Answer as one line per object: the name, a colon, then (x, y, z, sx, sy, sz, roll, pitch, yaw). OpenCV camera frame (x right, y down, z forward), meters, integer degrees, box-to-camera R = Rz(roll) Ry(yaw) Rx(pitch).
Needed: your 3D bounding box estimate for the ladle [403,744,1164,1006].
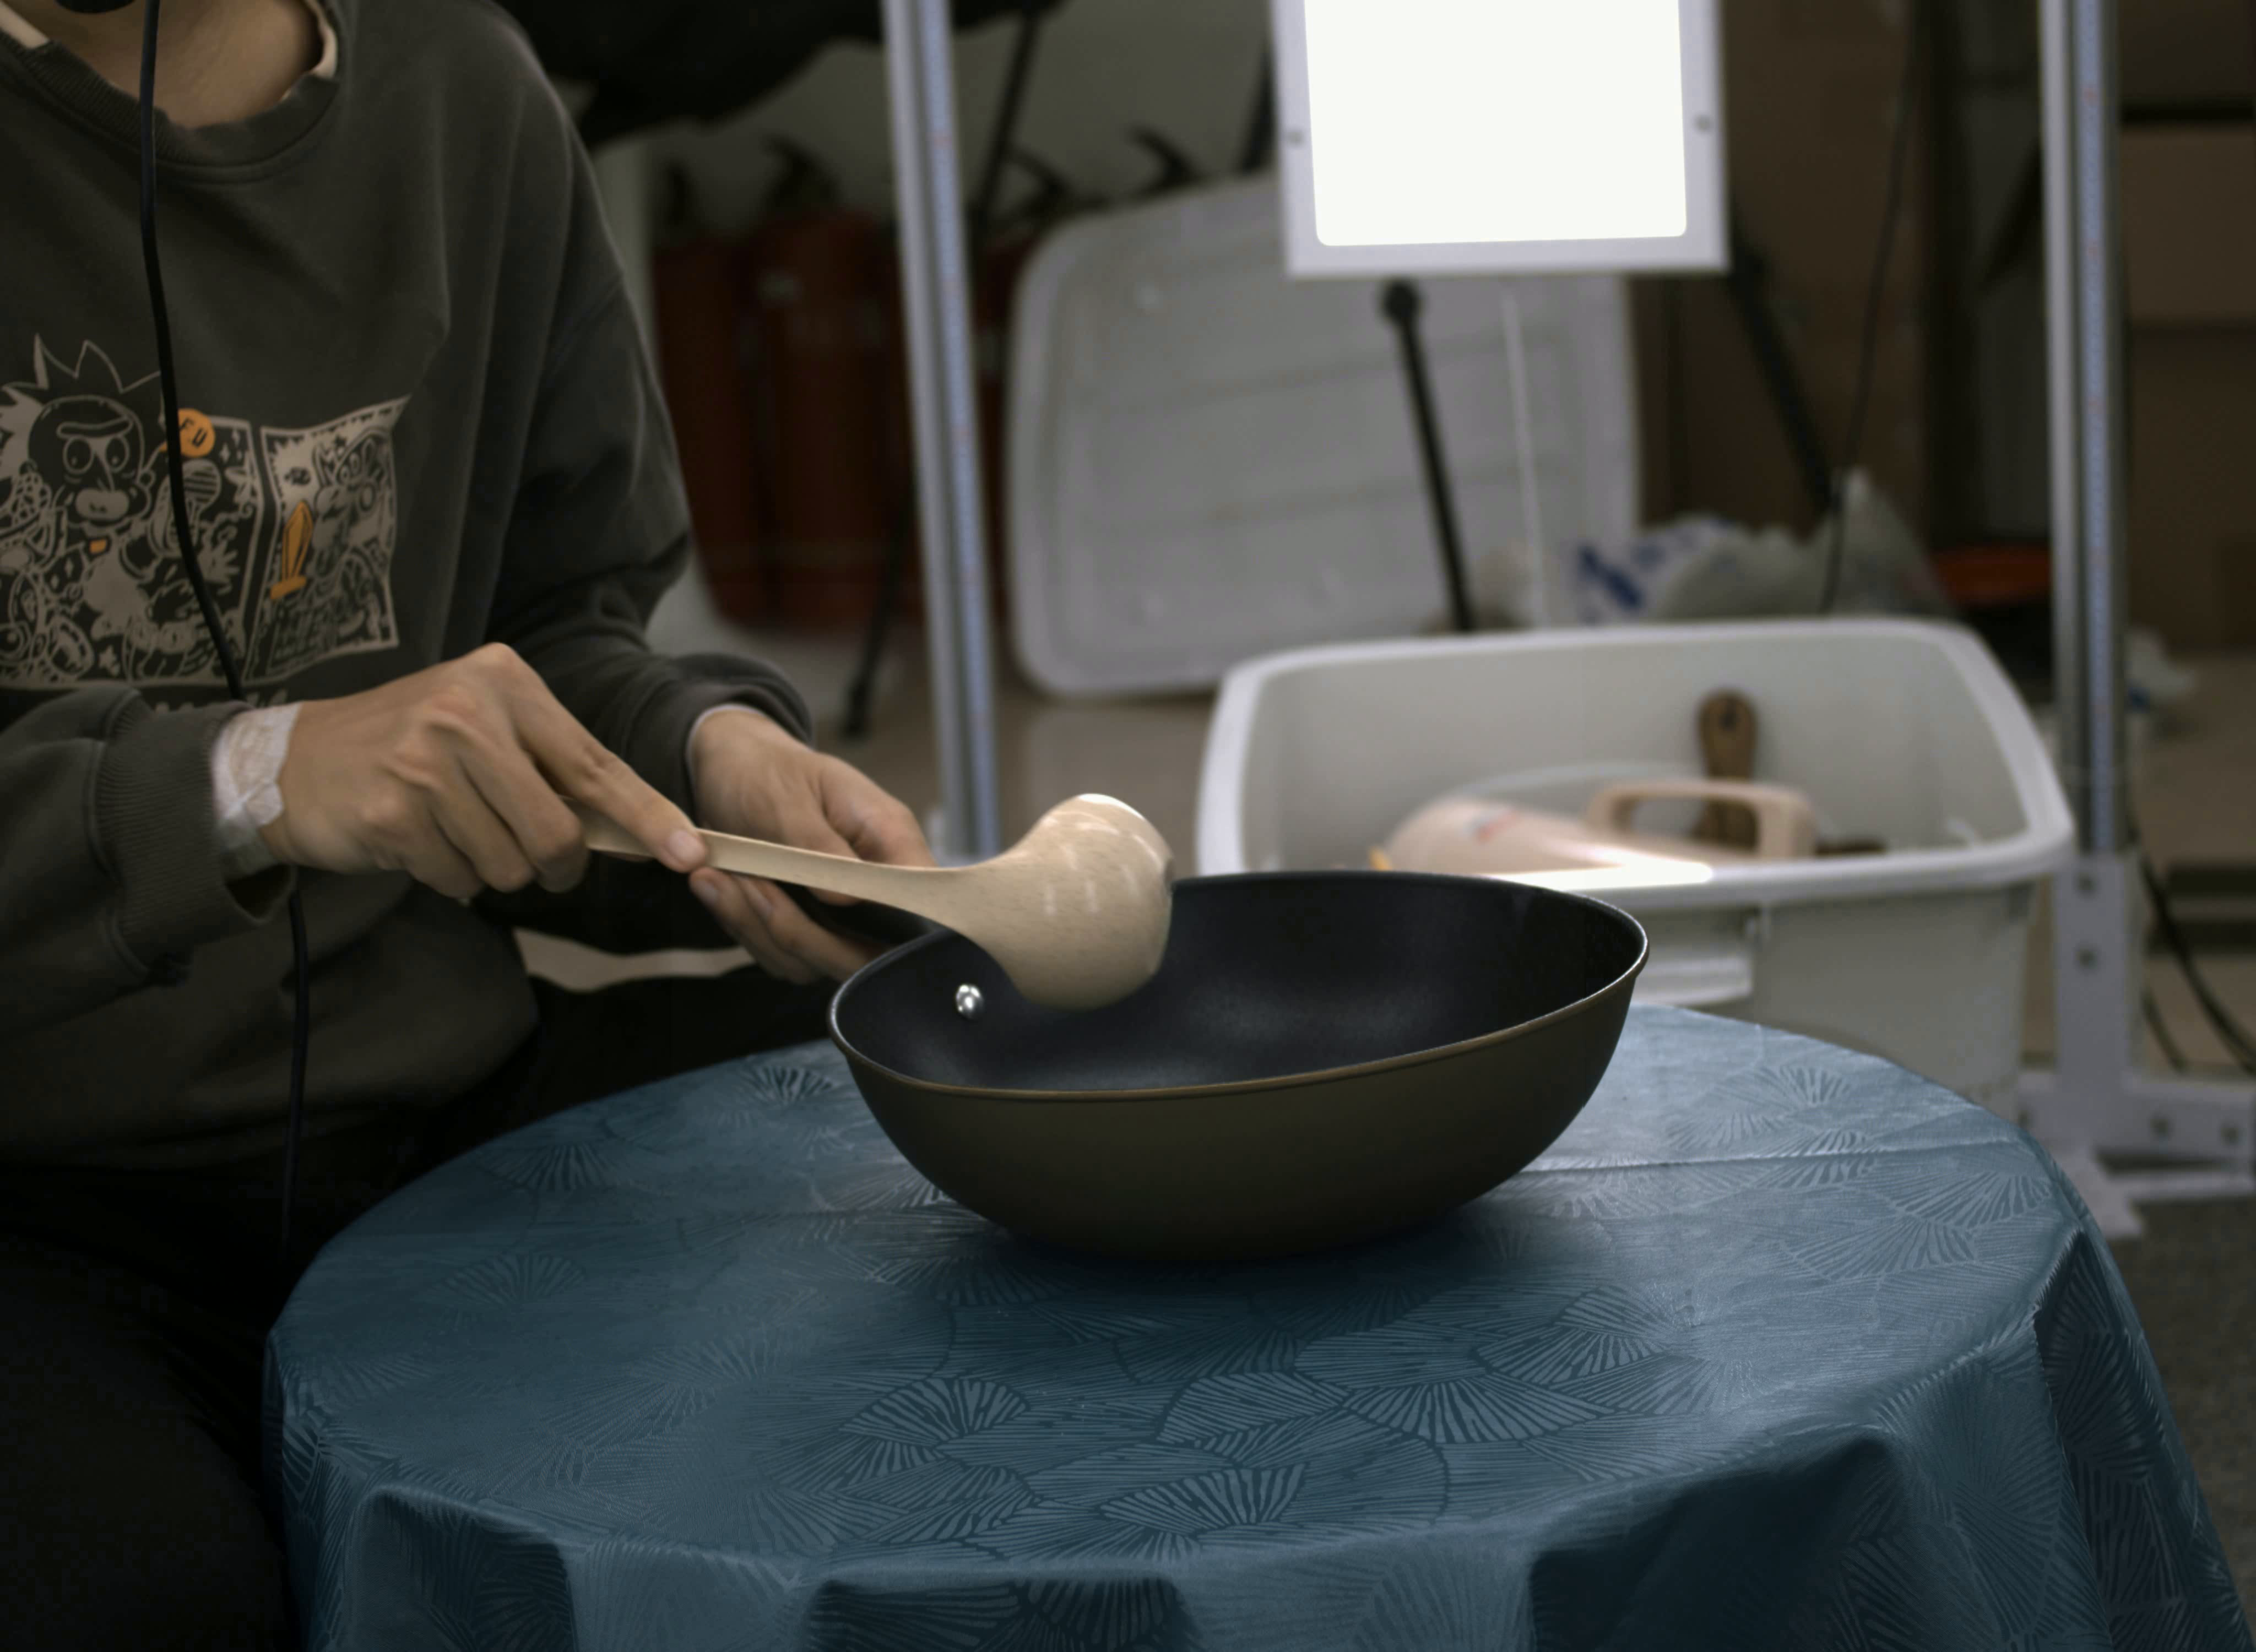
ladle: (-0.112, 0.001, 1.835, 0.257, 0.072, 0.071, 14, 17, 17)

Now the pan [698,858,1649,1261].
pan: (-0.018, 0.076, 1.938, 0.281, 0.087, 0.473, -15, 15, -35)
